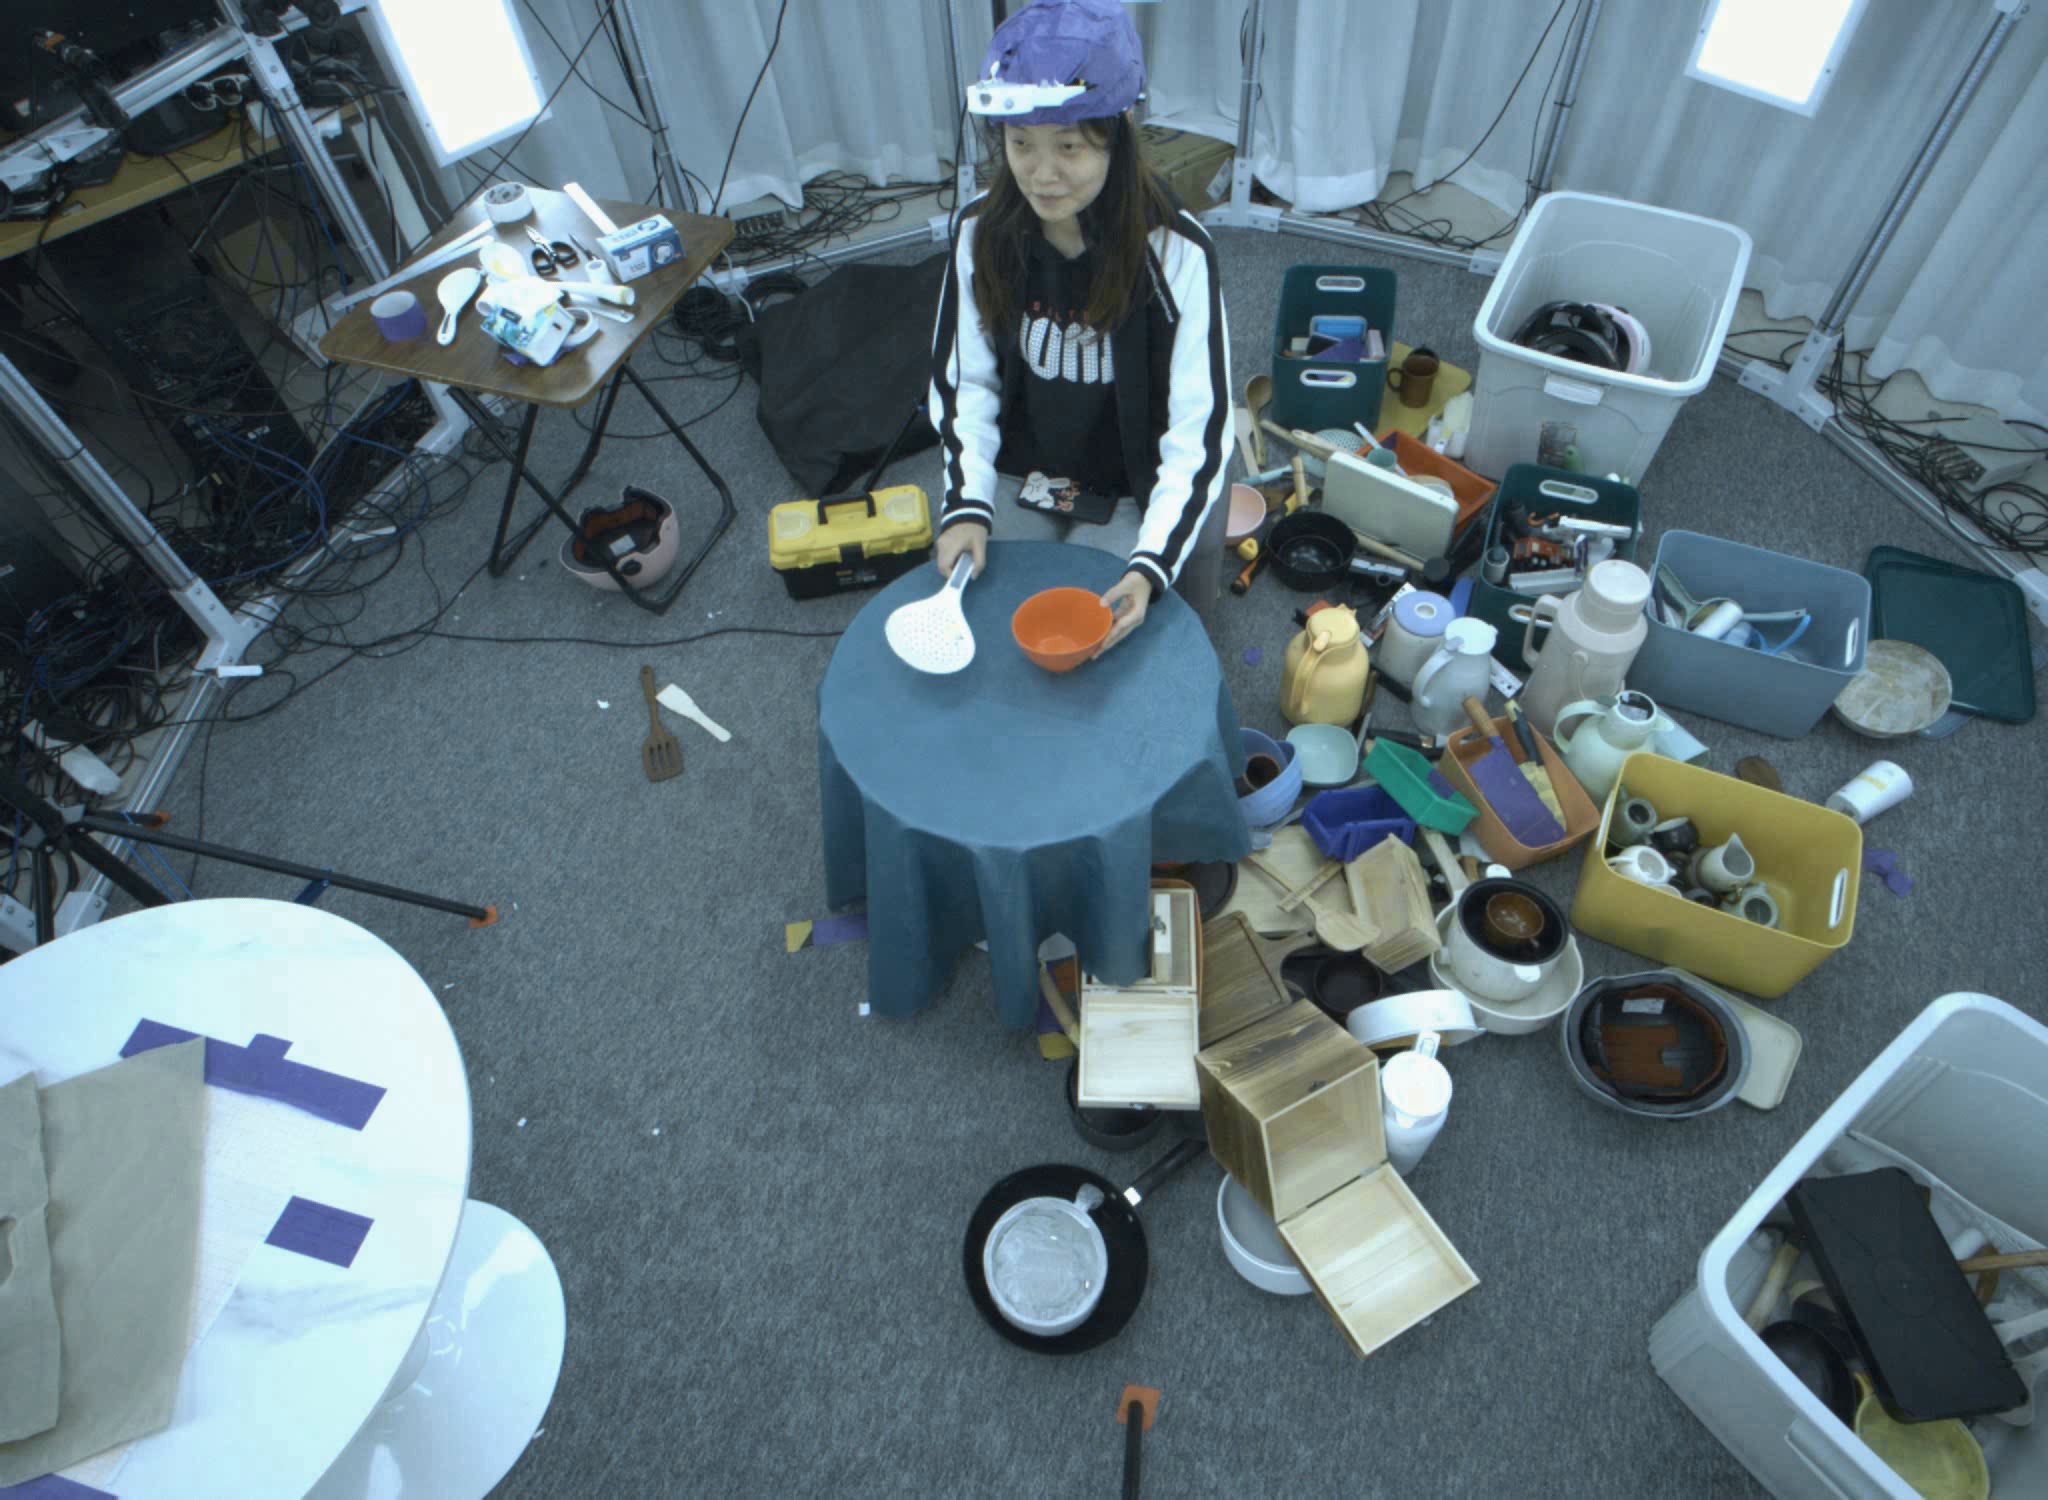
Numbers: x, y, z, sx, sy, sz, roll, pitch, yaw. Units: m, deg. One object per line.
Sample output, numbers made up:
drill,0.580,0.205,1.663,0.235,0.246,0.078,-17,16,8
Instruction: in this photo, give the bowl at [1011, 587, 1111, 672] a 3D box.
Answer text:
bowl,0.056,-0.167,1.841,0.148,0.106,0.146,-1,56,3

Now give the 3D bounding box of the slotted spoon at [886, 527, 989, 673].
slotted spoon,-0.116,-0.240,1.902,0.137,0.045,0.348,27,52,-8
